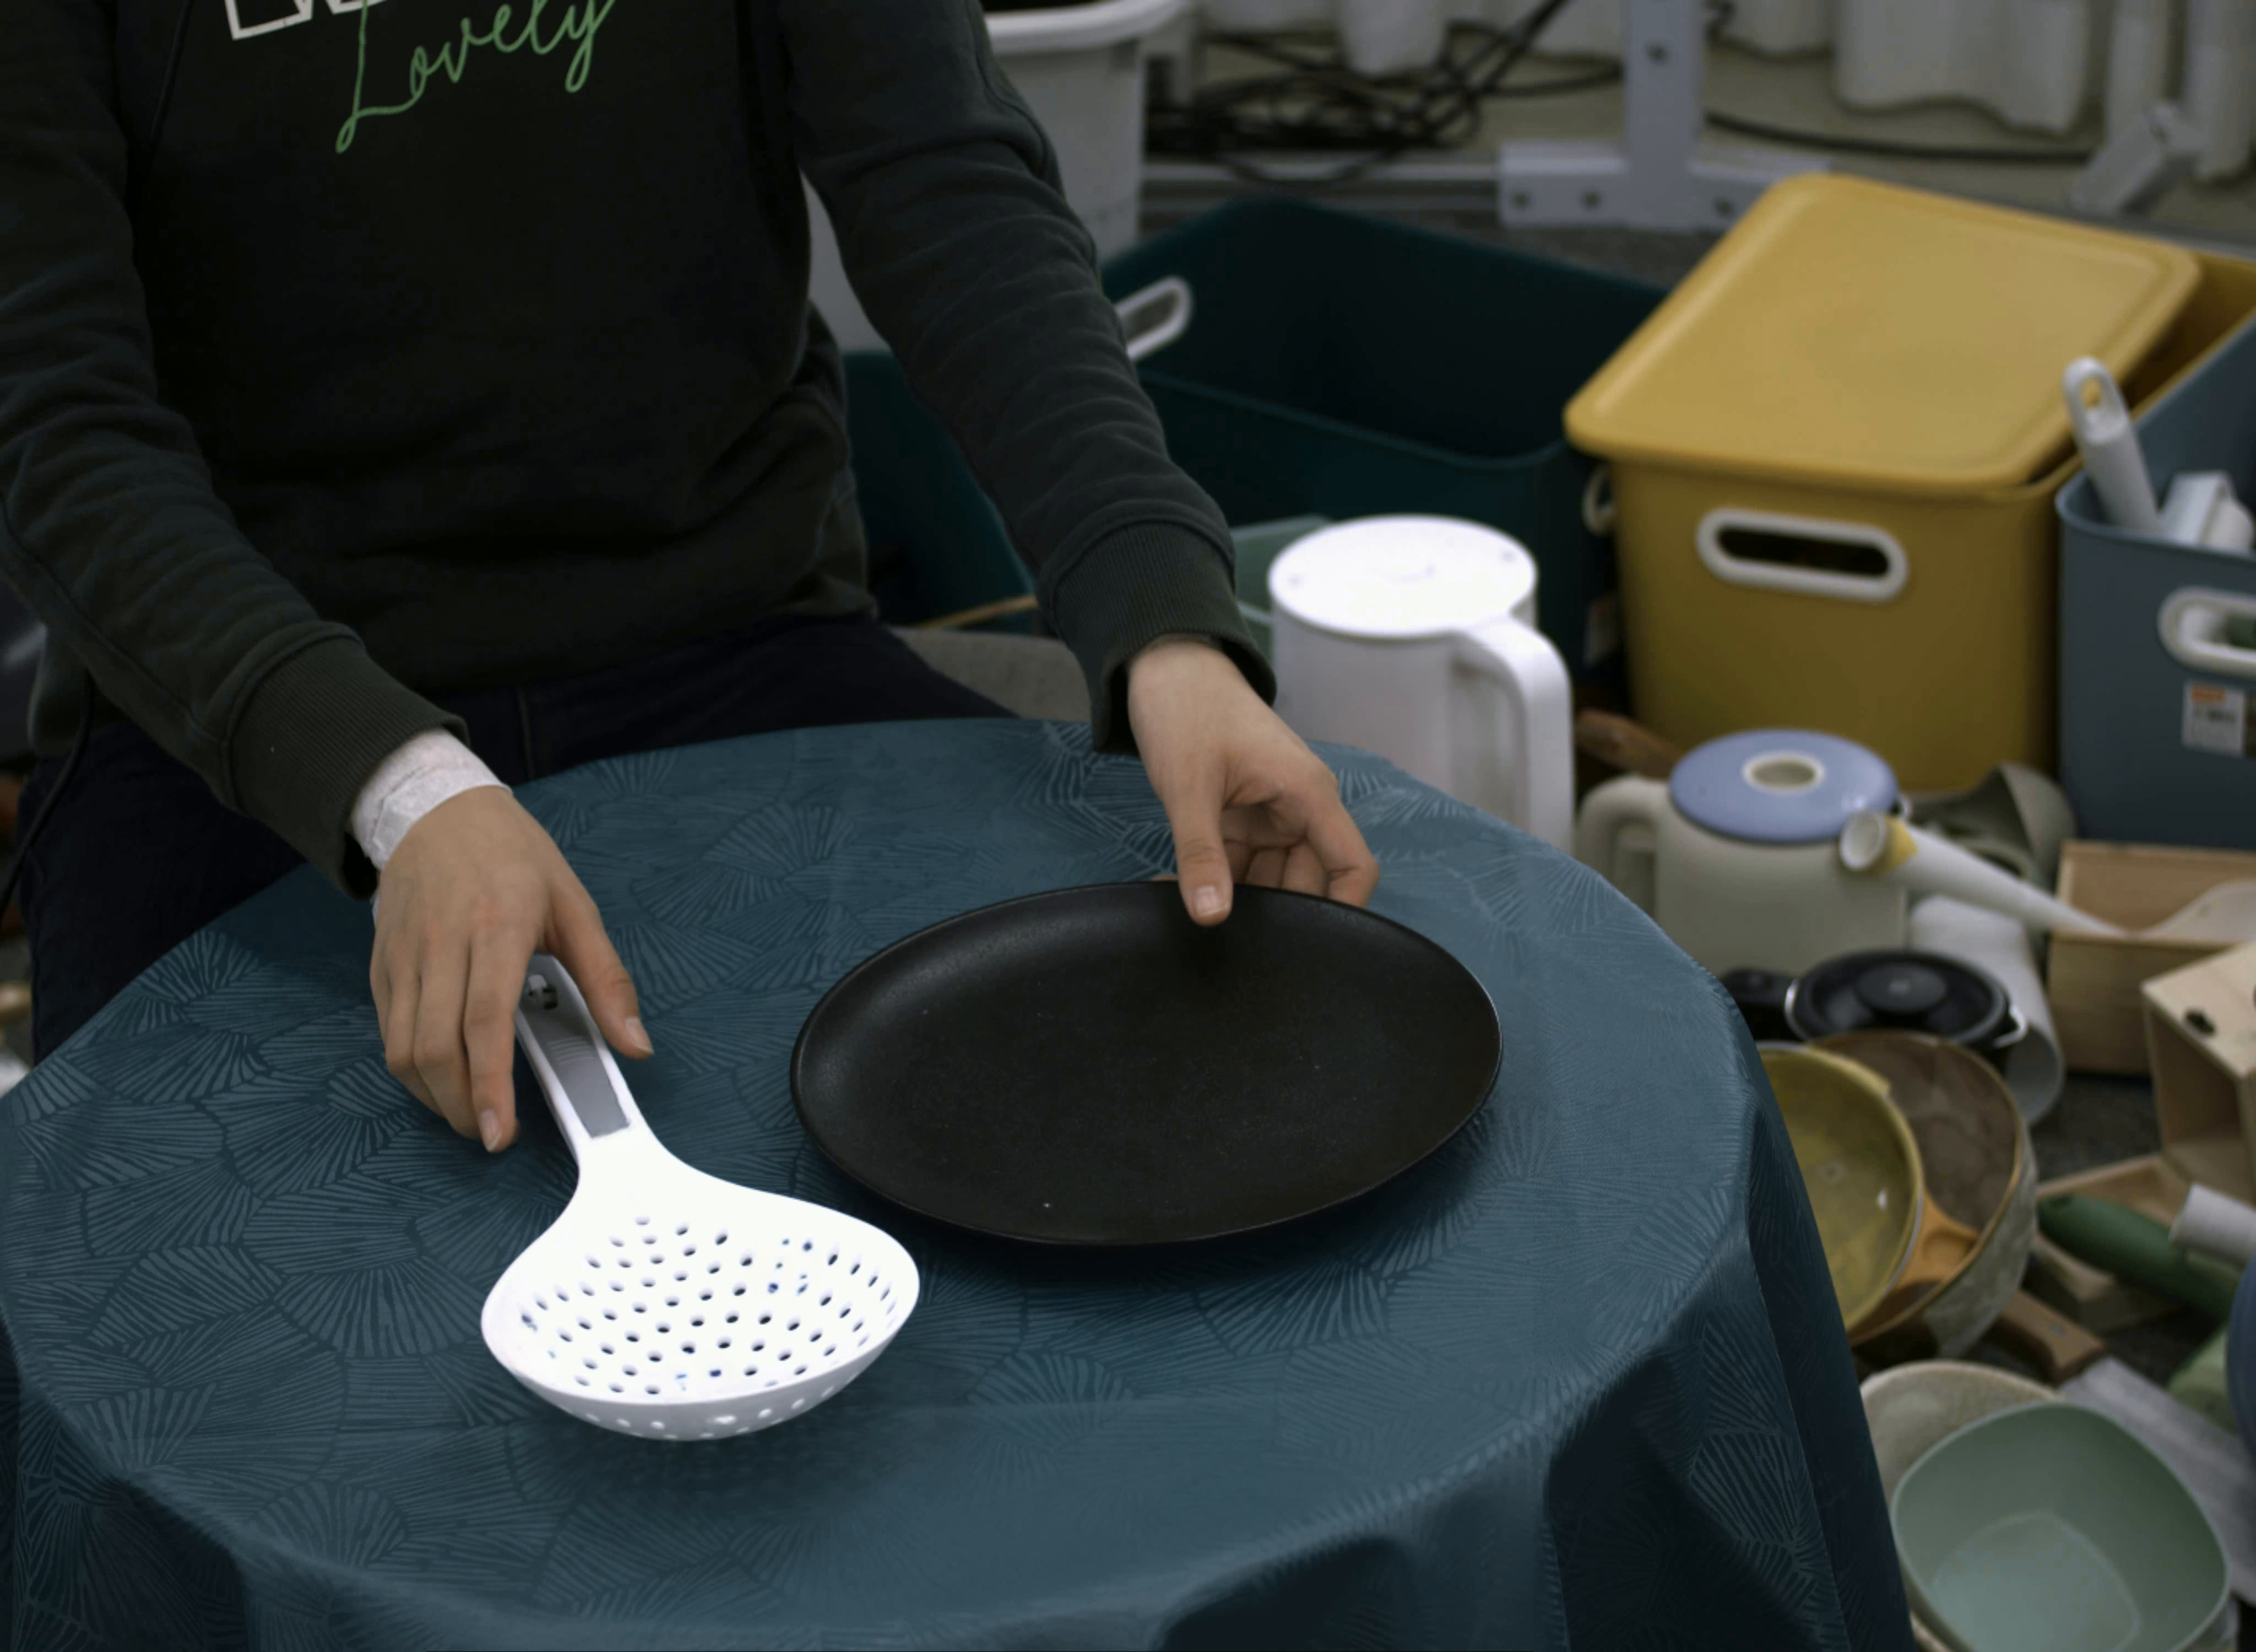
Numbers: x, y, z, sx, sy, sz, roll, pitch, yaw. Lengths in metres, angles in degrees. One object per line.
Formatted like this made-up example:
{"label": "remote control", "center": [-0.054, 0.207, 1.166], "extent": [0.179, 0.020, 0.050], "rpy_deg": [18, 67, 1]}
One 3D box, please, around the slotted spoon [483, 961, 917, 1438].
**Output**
{"label": "slotted spoon", "center": [-0.163, 0.116, 1.840], "extent": [0.136, 0.045, 0.353], "rpy_deg": [-8, 27, -14]}

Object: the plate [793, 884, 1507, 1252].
{"label": "plate", "center": [0.008, 0.086, 1.905], "extent": [0.243, 0.023, 0.248], "rpy_deg": [-2, 27, 2]}
